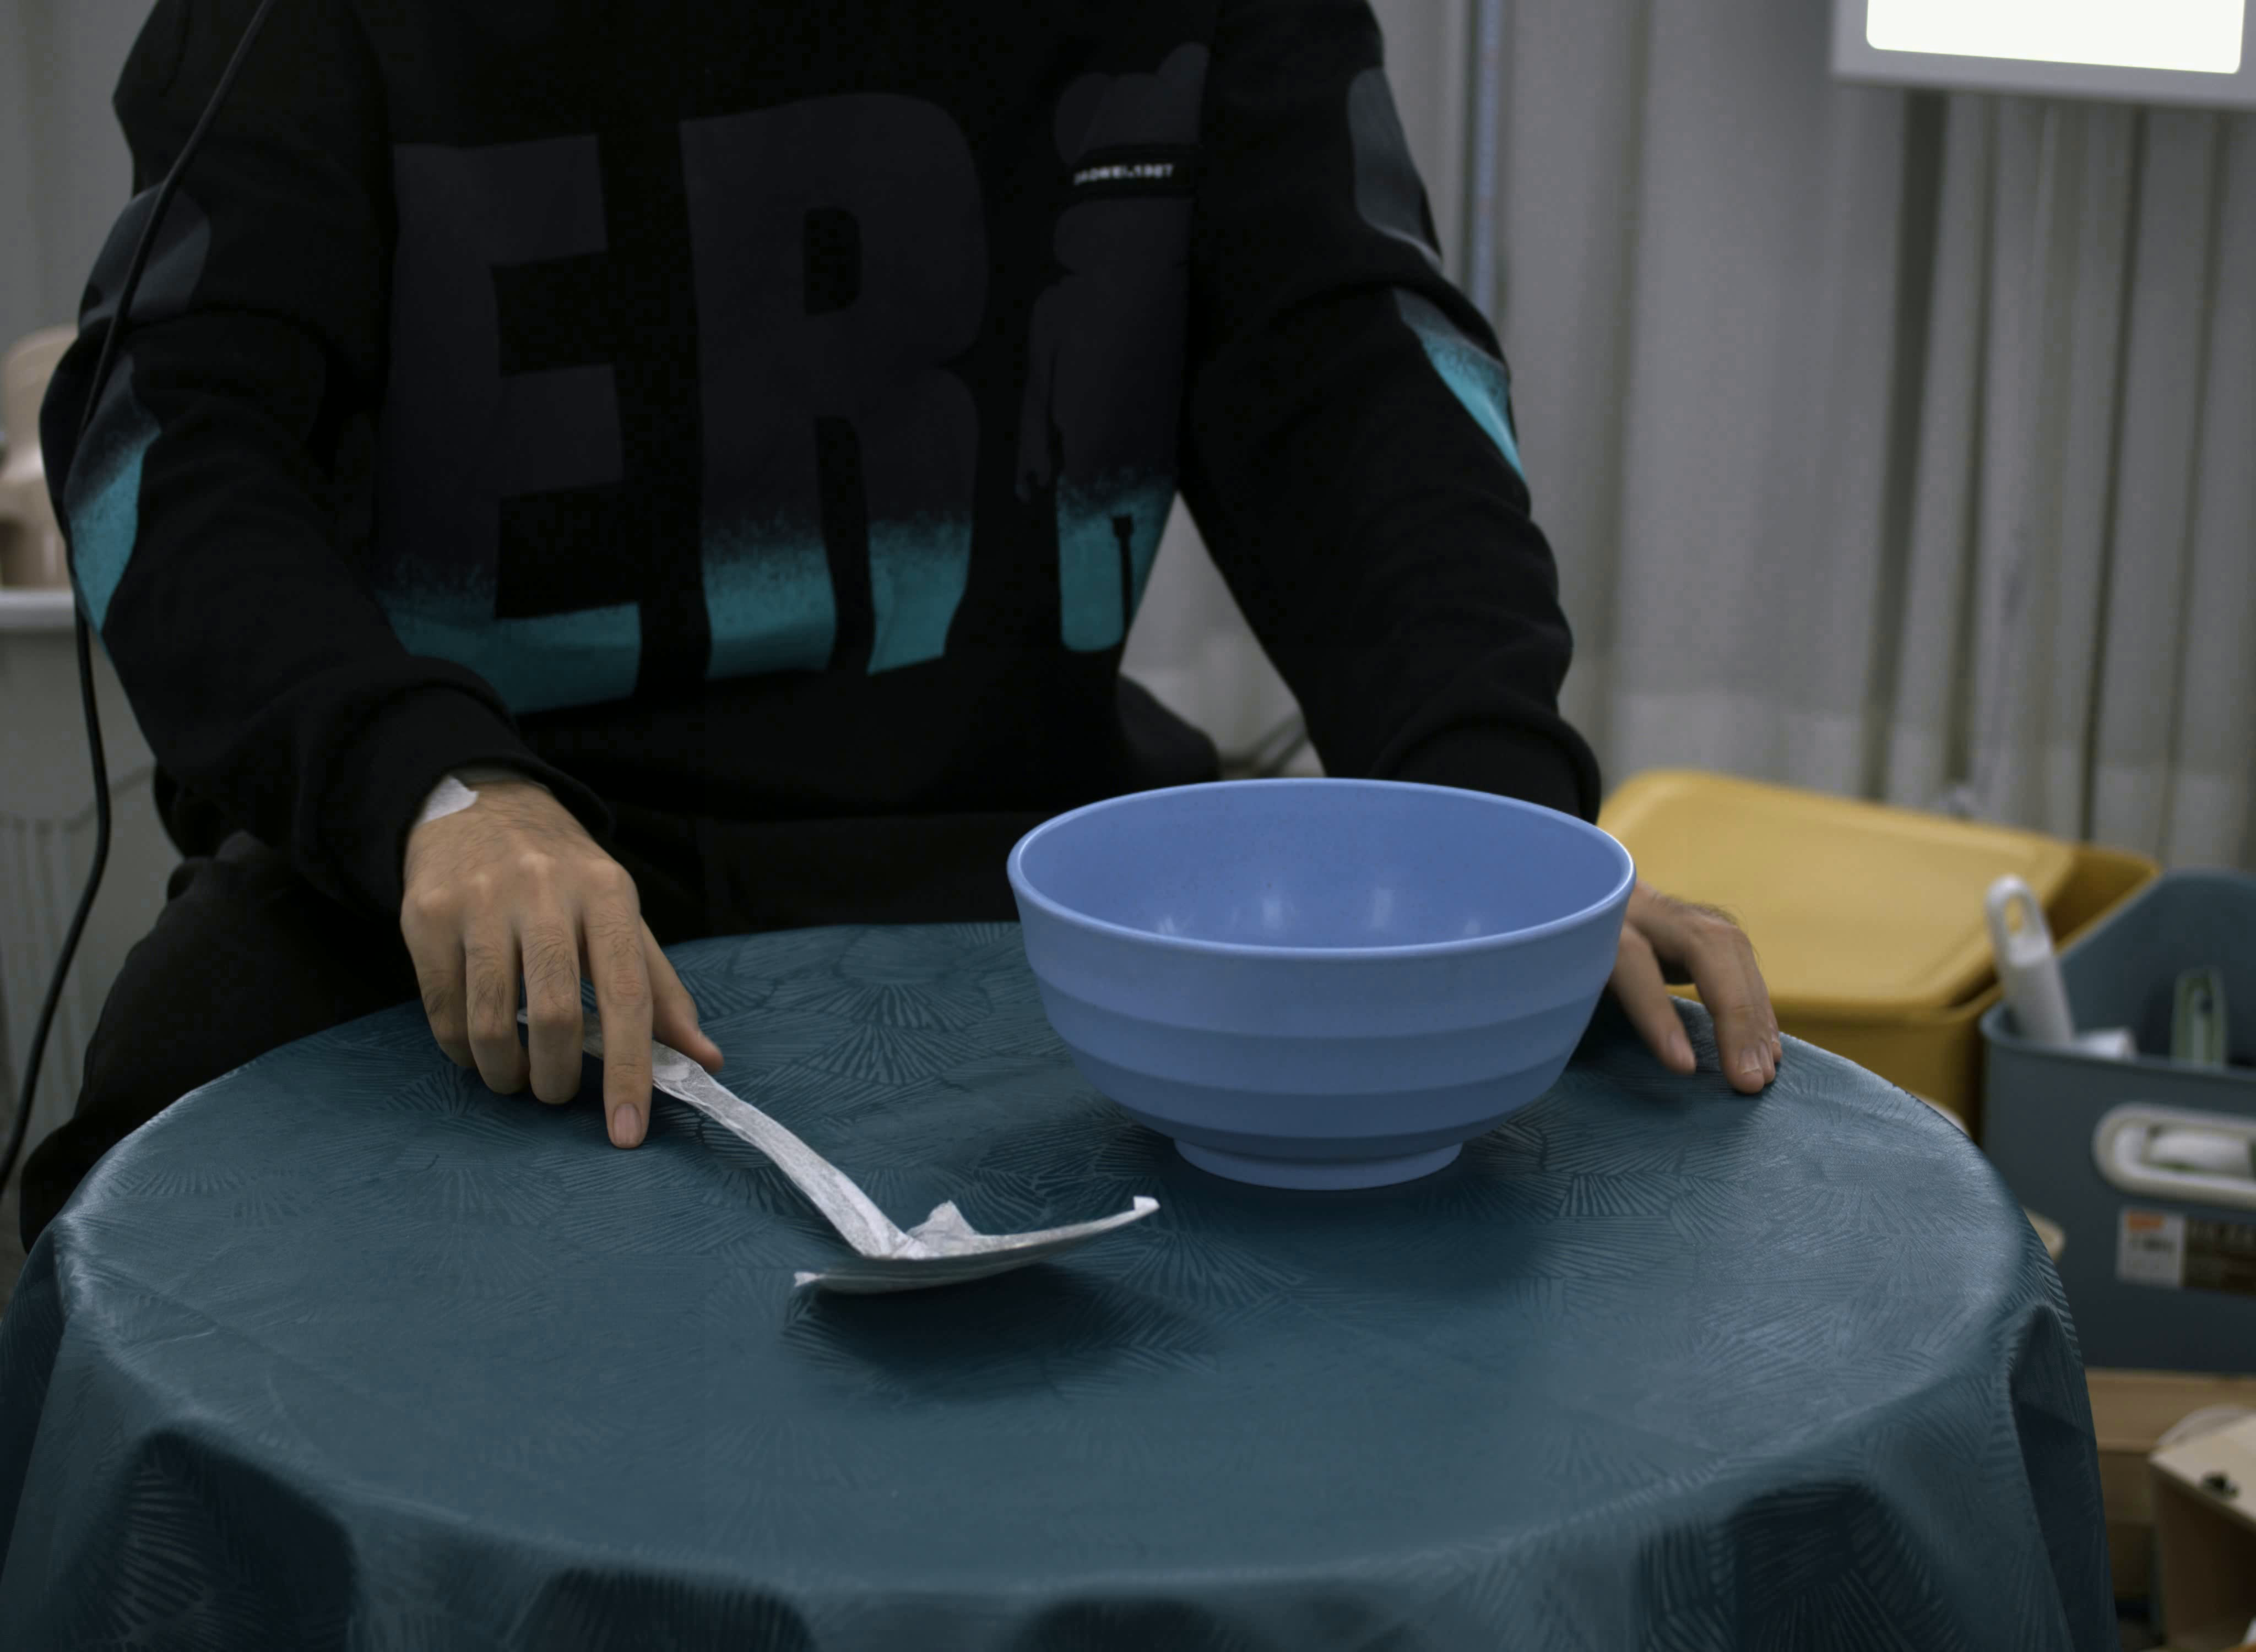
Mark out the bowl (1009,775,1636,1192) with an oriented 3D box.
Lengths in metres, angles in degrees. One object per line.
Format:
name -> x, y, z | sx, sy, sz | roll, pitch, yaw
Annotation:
bowl -> 0.061, 0.055, 1.658 | 0.196, 0.096, 0.195 | 0, 17, 1

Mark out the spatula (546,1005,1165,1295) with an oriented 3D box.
spatula -> -0.110, 0.090, 1.629 | 0.099, 0.045, 0.360 | -10, 19, -28
